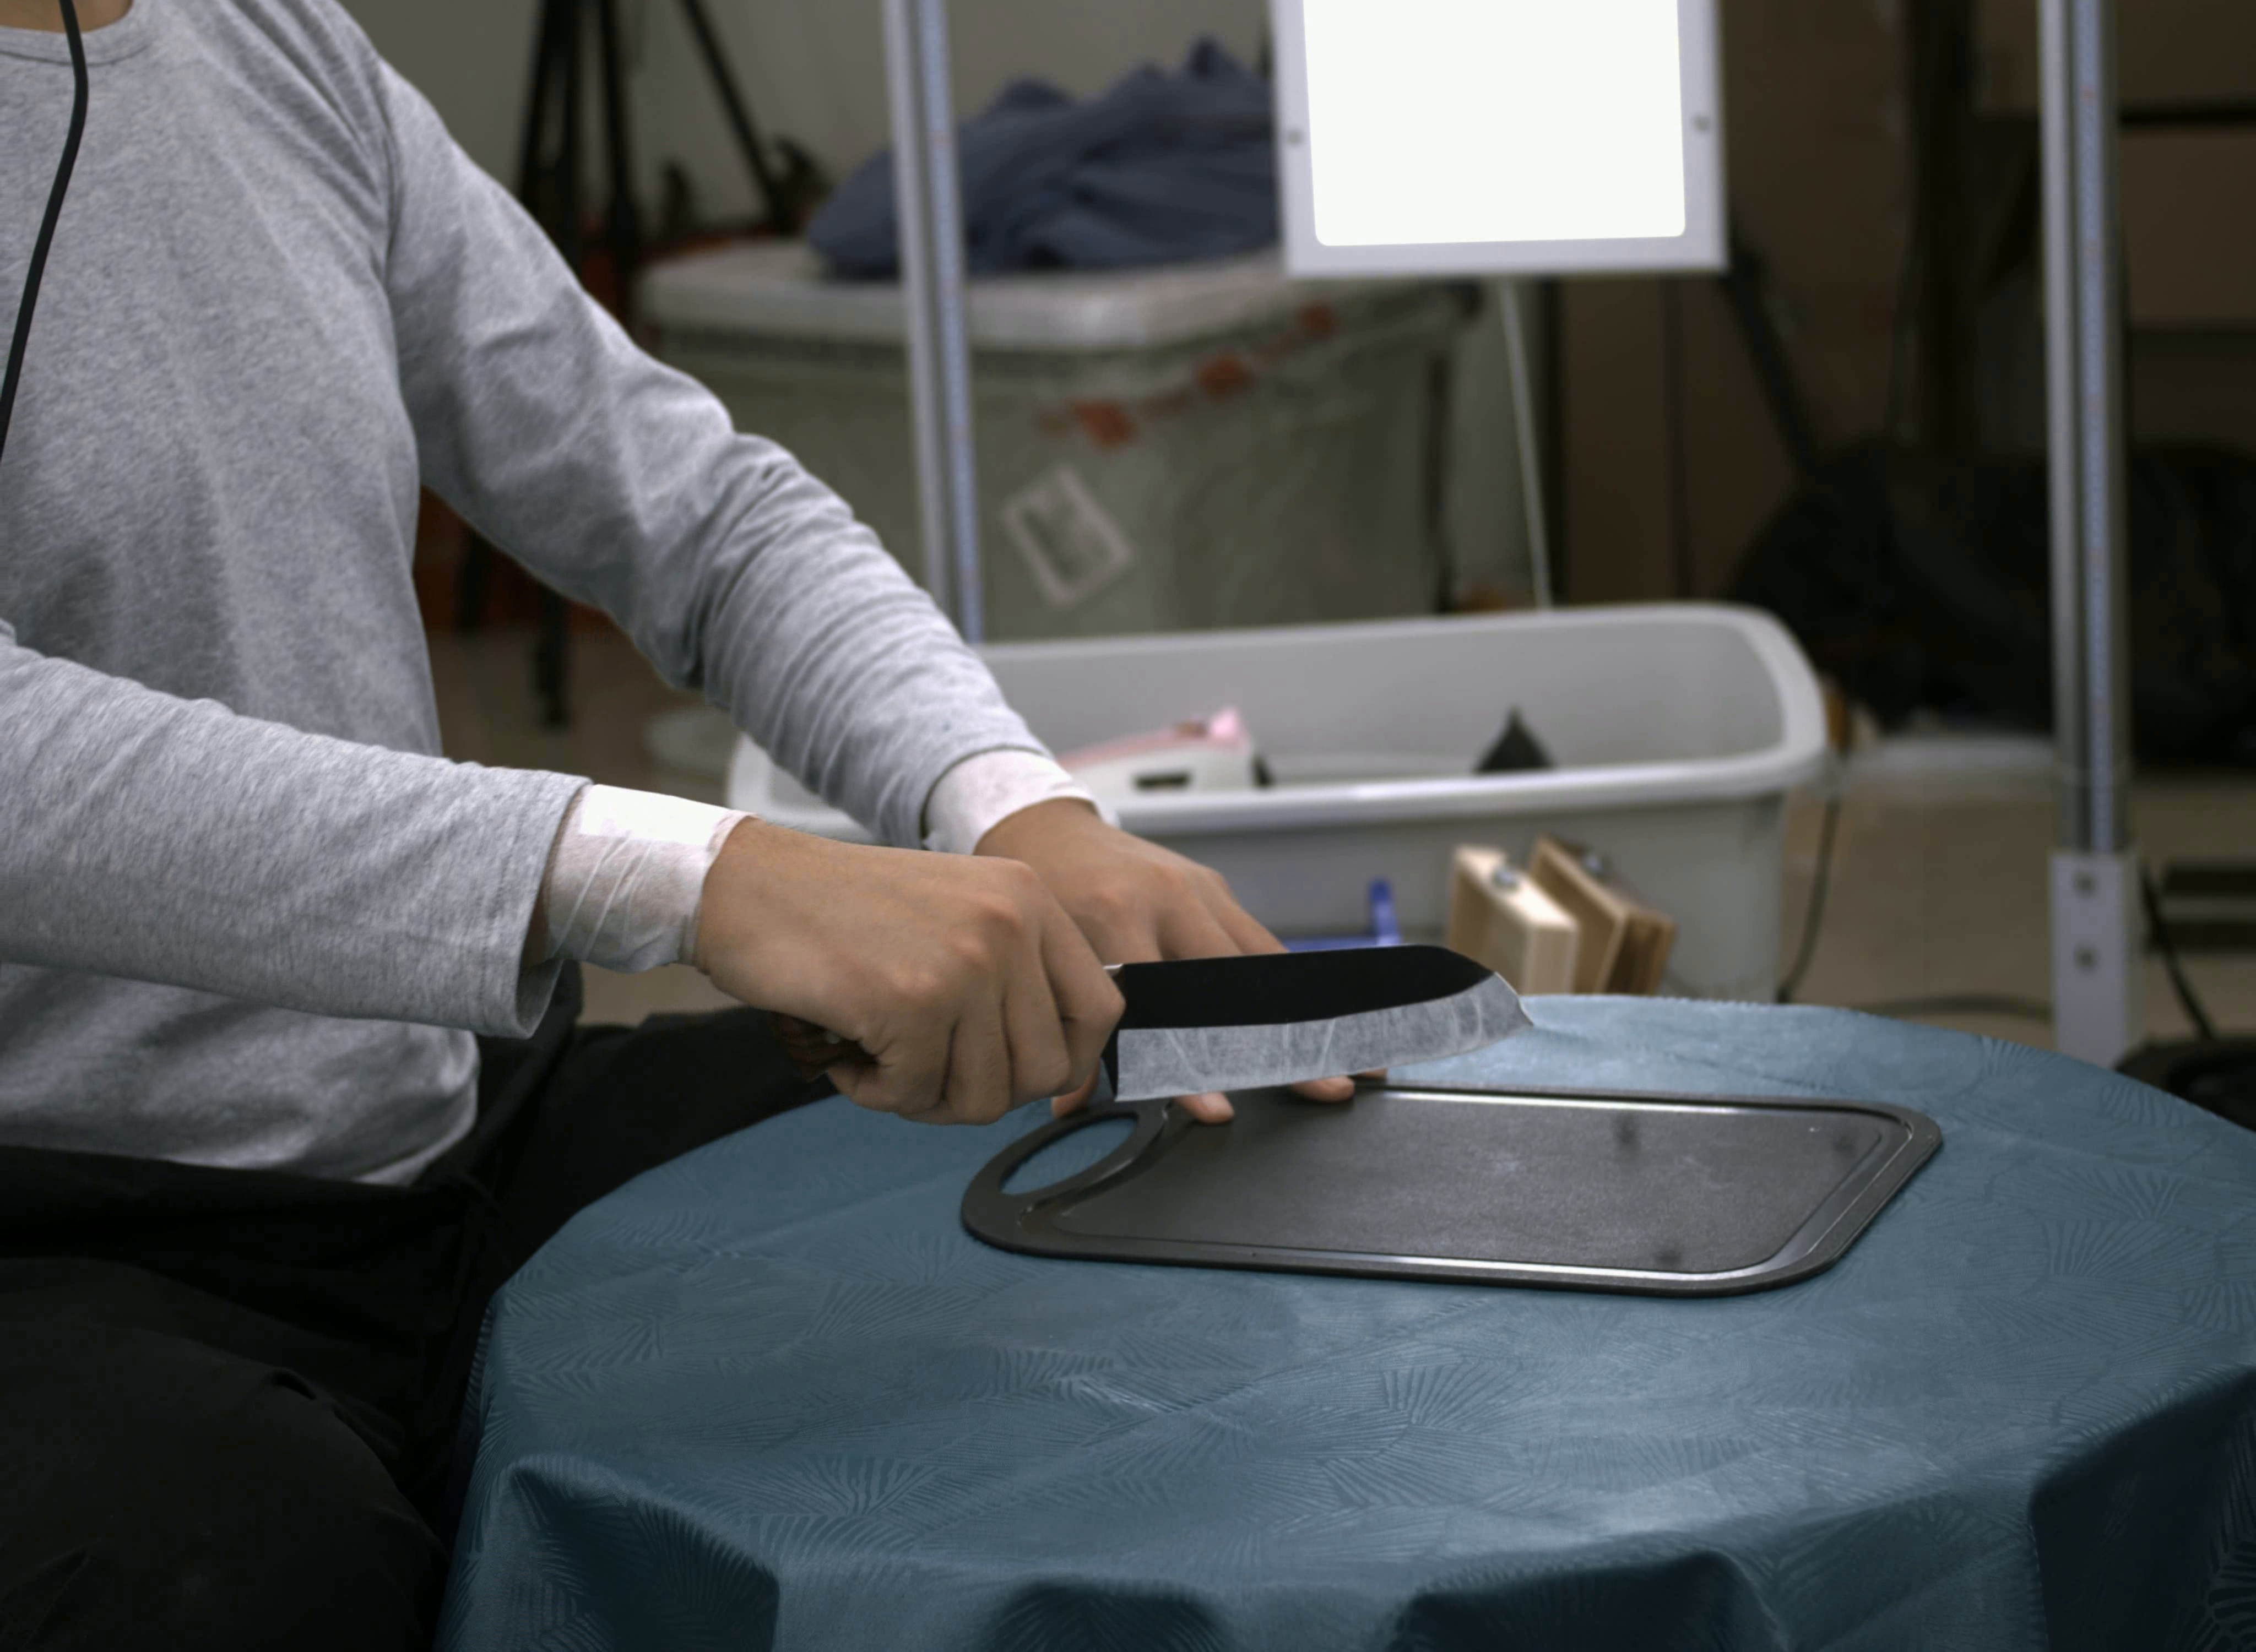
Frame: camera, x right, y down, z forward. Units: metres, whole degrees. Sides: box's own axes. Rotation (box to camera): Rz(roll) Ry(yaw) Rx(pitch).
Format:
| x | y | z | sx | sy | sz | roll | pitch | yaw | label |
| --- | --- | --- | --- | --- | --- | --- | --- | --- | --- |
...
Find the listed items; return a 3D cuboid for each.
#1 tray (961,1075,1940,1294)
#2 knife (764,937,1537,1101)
| x | y | z | sx | sy | sz | roll | pitch | yaw | label |
| --- | --- | --- | --- | --- | --- | --- | --- | --- | --- |
| 0.105 | 0.119 | 1.885 | 0.331 | 0.010 | 0.207 | 1 | 15 | 26 | tray |
| 0.013 | 0.063 | 1.763 | 0.282 | 0.050 | 0.020 | -1 | 3 | -29 | knife |
